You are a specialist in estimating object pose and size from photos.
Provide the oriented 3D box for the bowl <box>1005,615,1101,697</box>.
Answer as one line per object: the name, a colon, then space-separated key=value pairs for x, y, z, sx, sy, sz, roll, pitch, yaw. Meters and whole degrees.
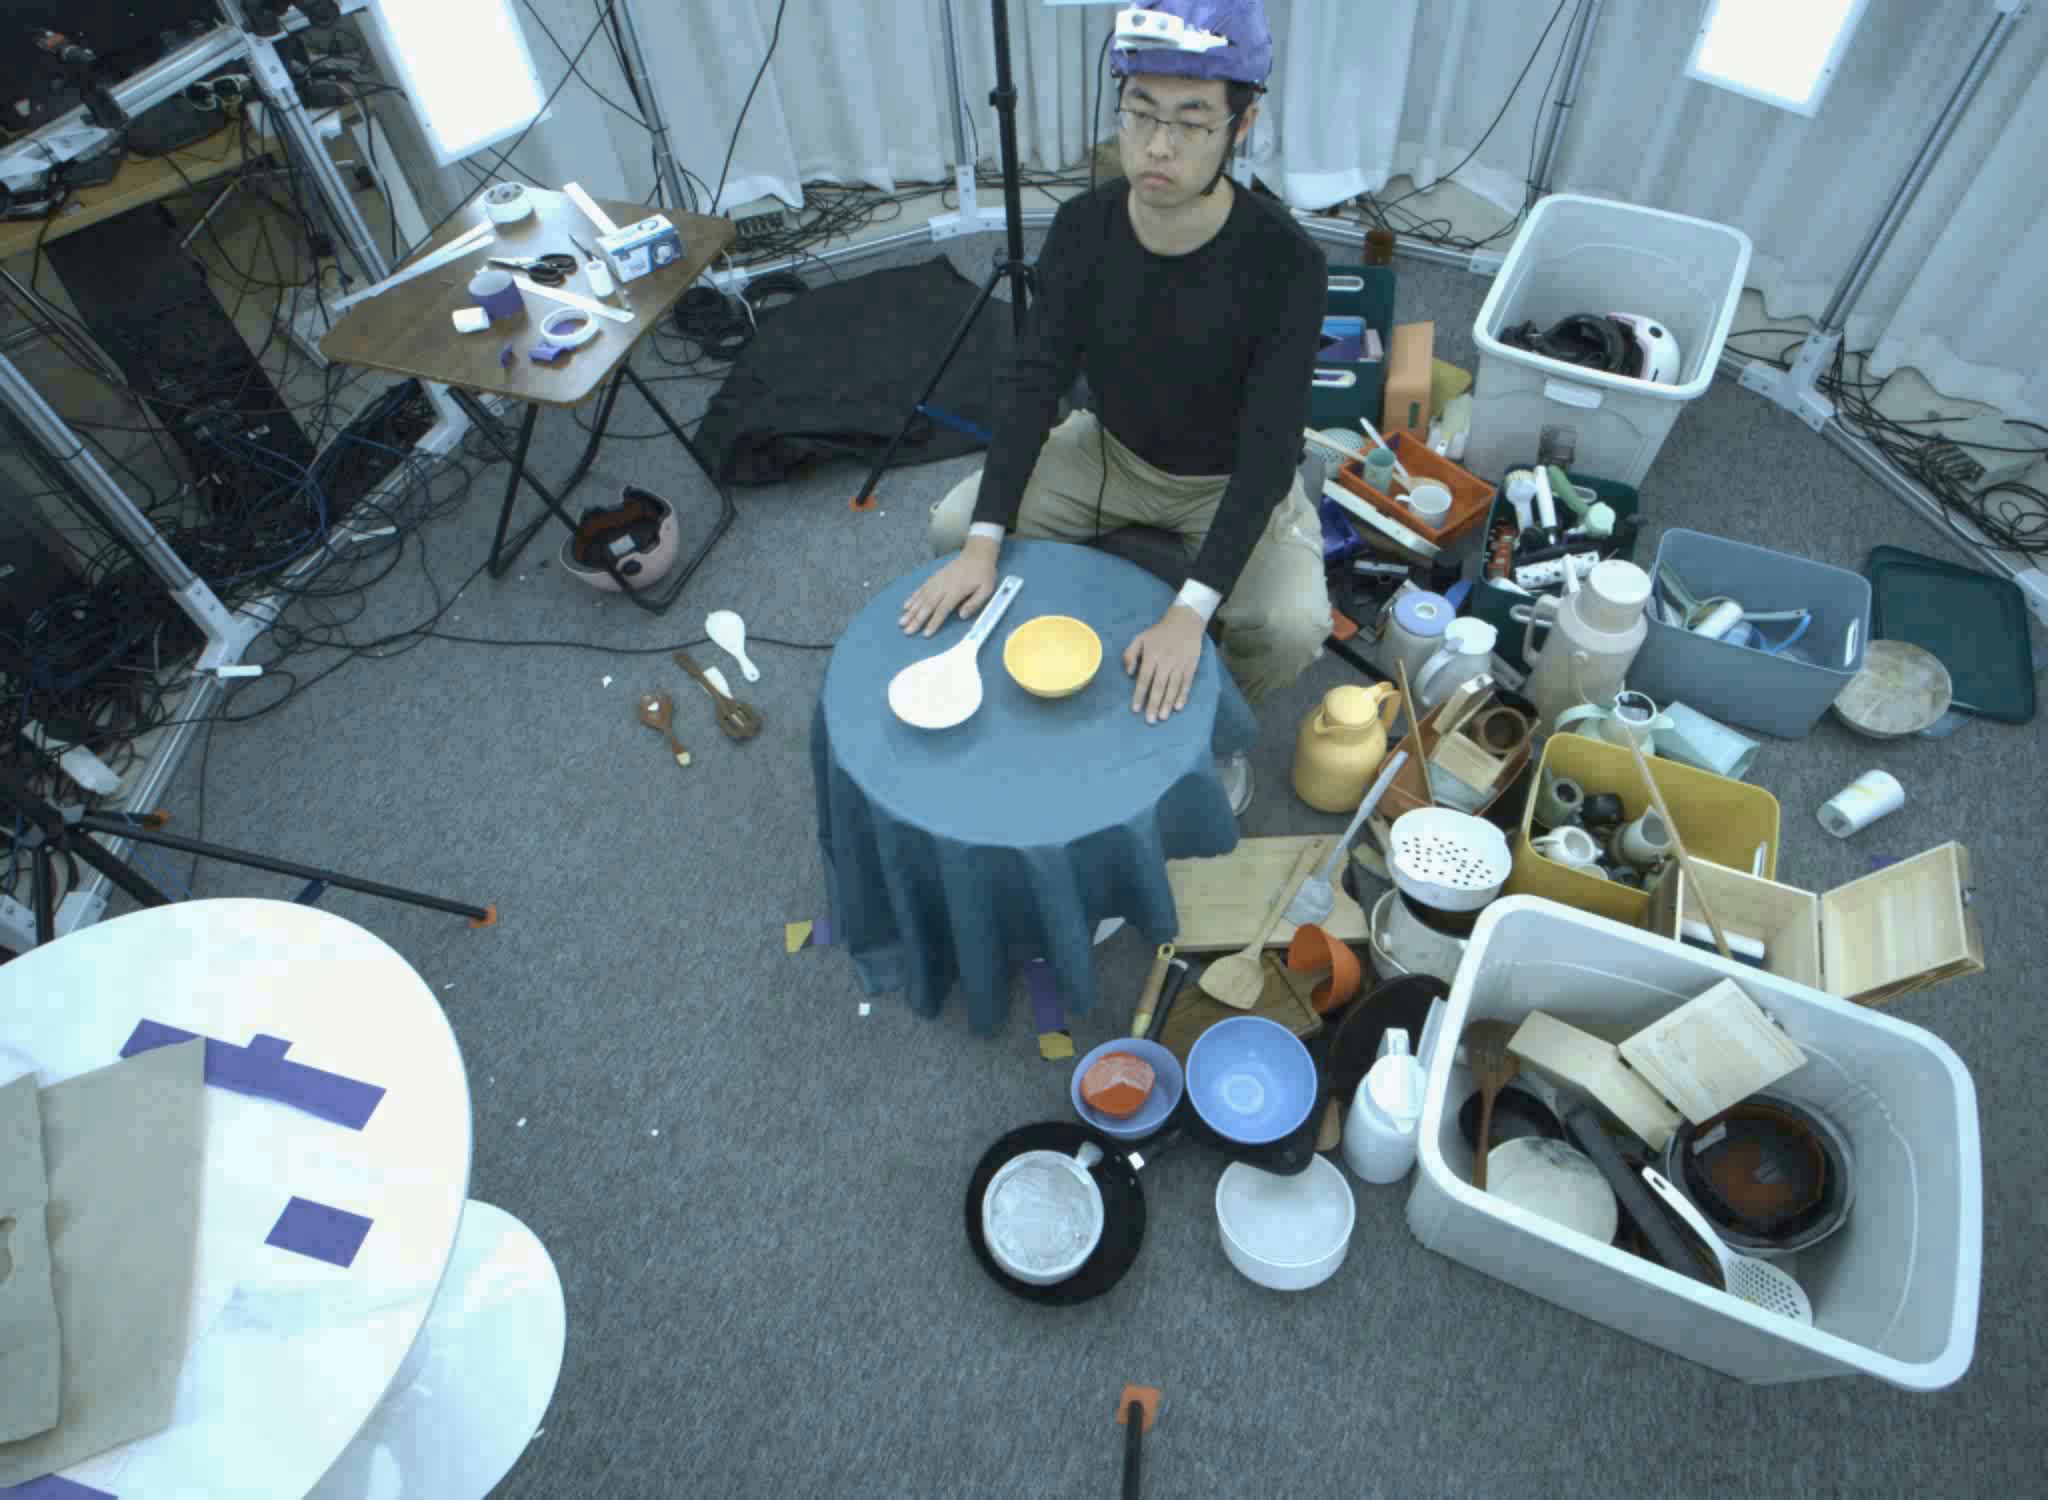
bowl: x=0.044 y=-0.129 z=1.844 sx=0.145 sy=0.061 sz=0.144 roll=0 pitch=57 yaw=1

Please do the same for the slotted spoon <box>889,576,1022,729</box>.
slotted spoon: x=-0.087 y=-0.154 z=1.871 sx=0.134 sy=0.046 sz=0.350 roll=19 pitch=57 yaw=14
